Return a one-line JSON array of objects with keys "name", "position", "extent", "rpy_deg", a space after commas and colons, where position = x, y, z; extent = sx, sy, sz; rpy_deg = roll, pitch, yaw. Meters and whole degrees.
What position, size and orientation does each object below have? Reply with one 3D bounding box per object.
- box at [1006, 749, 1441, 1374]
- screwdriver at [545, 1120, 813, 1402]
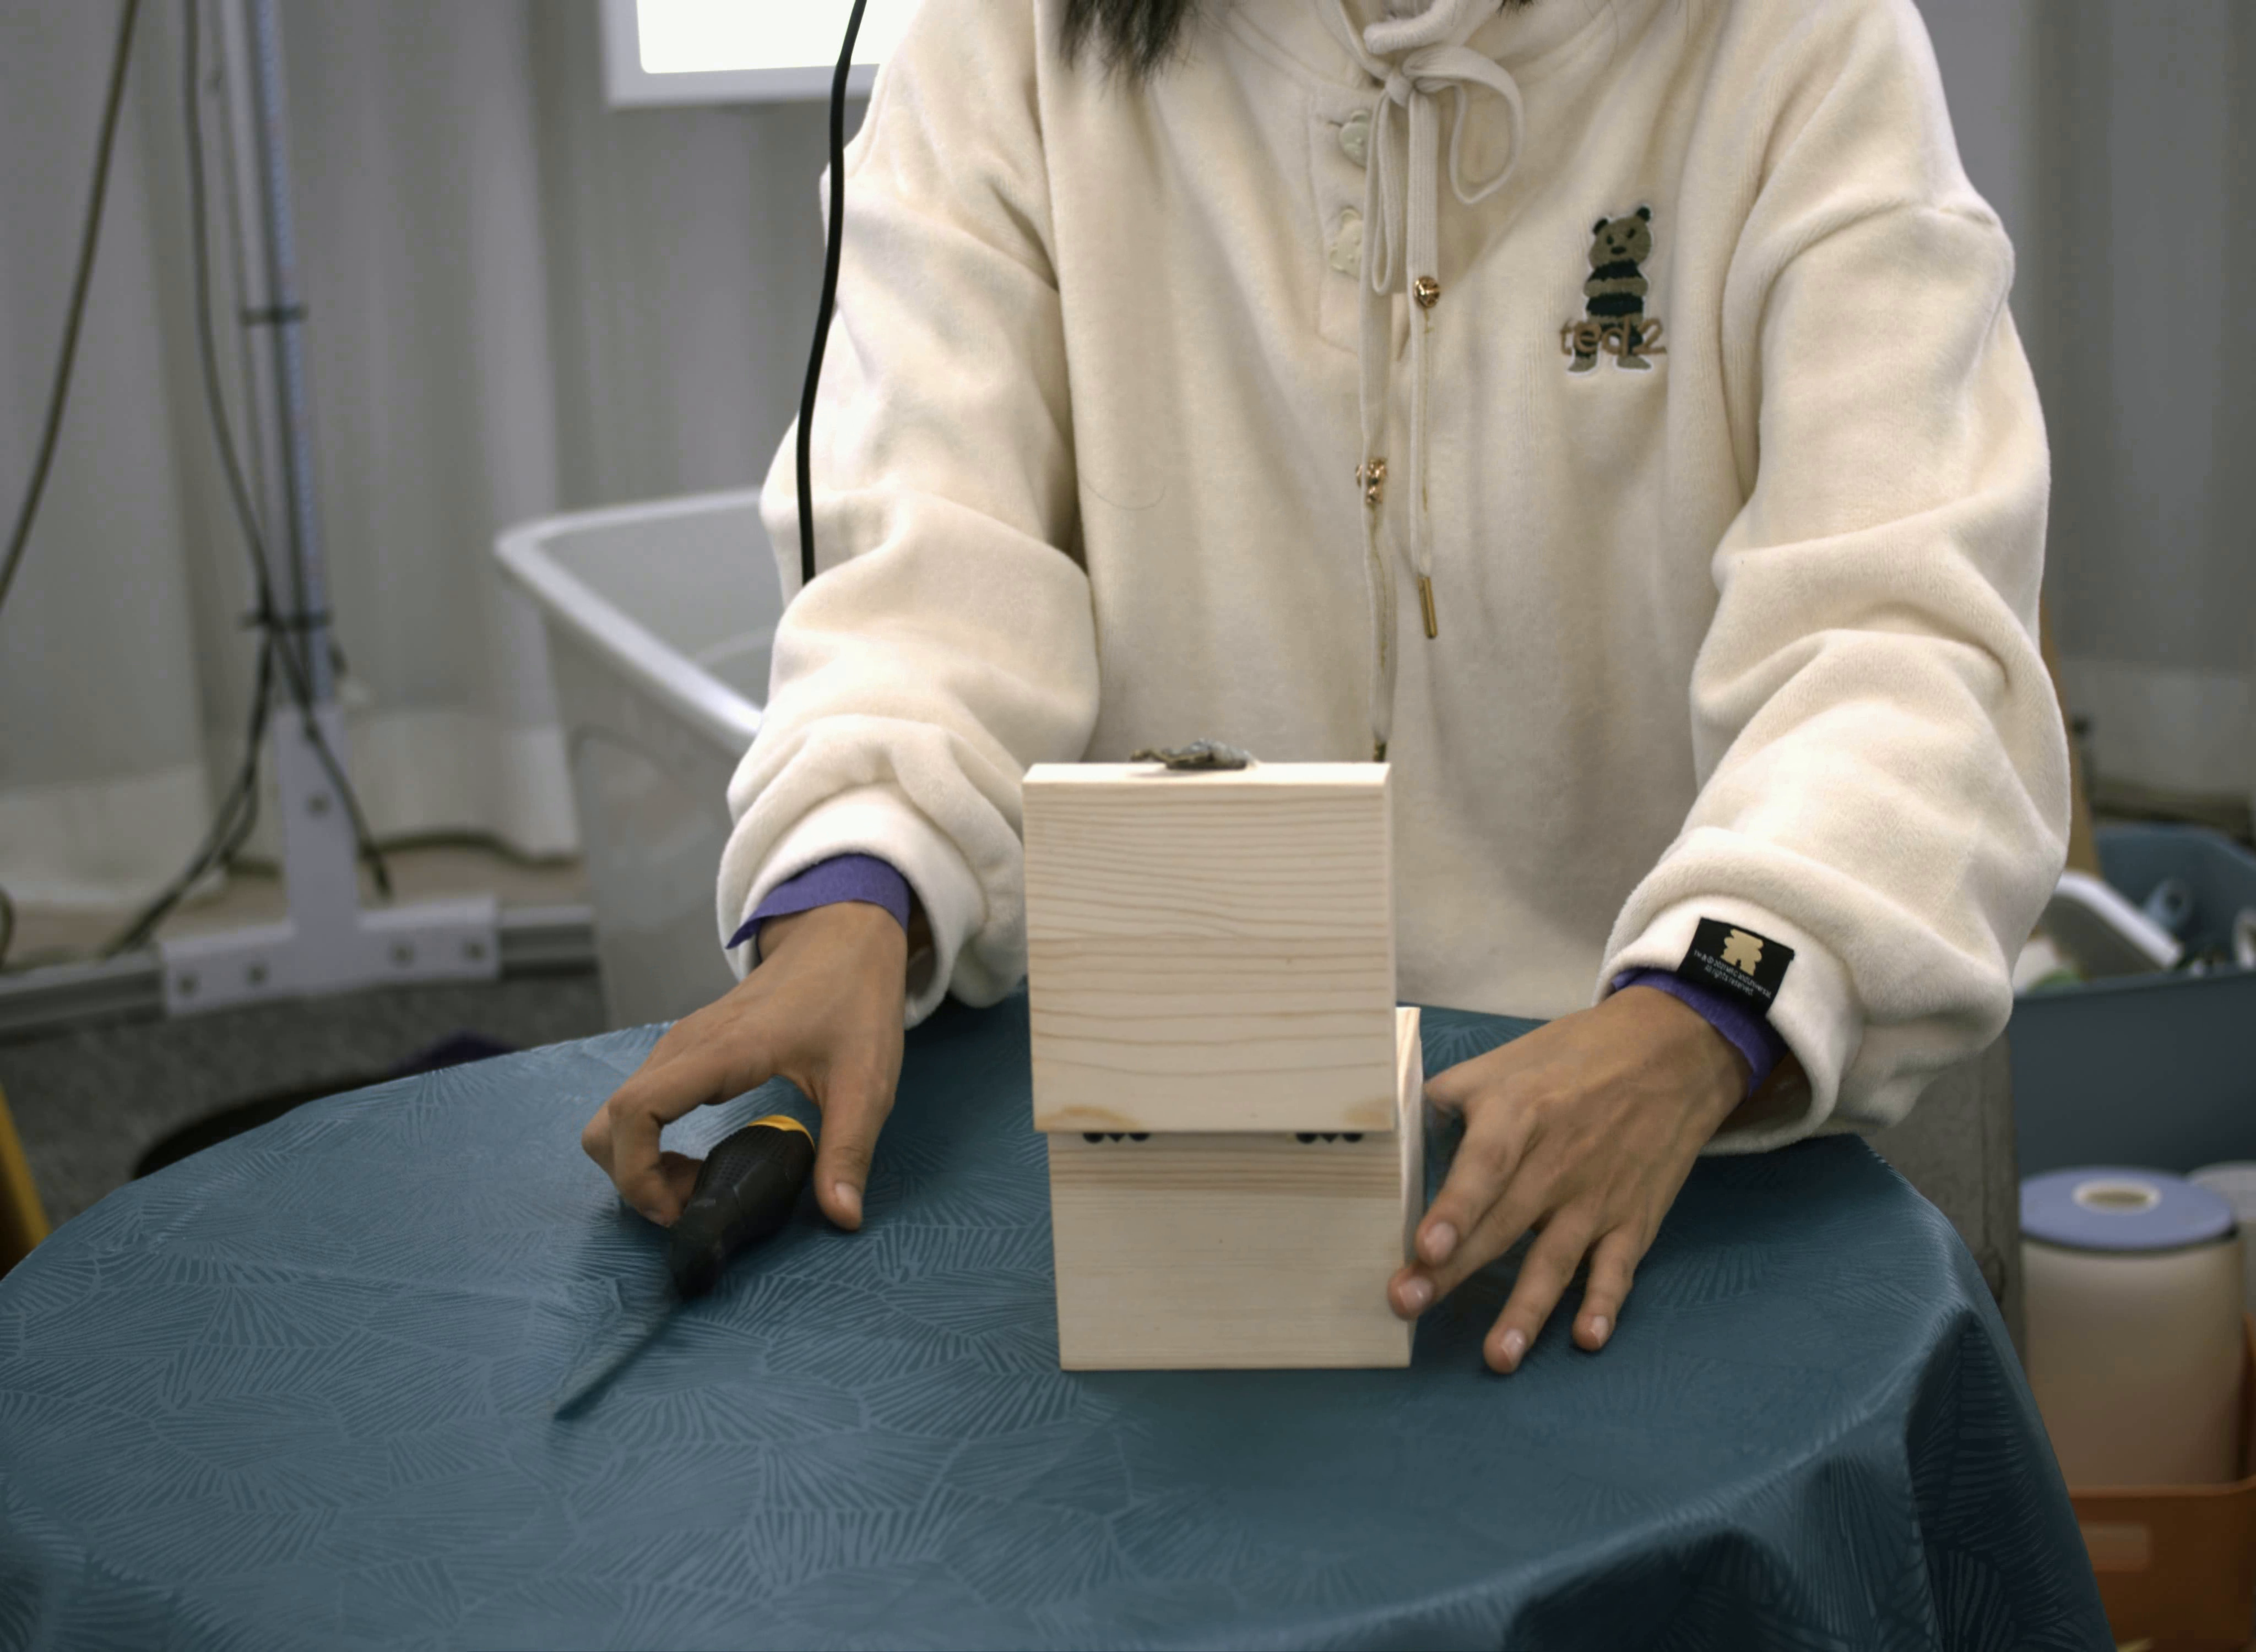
[{"name": "box", "position": [0.030, 0.056, 1.572], "extent": [0.102, 0.184, 0.134], "rpy_deg": [-2, 15, 8]}, {"name": "screwdriver", "position": [-0.138, 0.131, 1.636], "extent": [0.031, 0.031, 0.198], "rpy_deg": [3, 18, 19]}]
